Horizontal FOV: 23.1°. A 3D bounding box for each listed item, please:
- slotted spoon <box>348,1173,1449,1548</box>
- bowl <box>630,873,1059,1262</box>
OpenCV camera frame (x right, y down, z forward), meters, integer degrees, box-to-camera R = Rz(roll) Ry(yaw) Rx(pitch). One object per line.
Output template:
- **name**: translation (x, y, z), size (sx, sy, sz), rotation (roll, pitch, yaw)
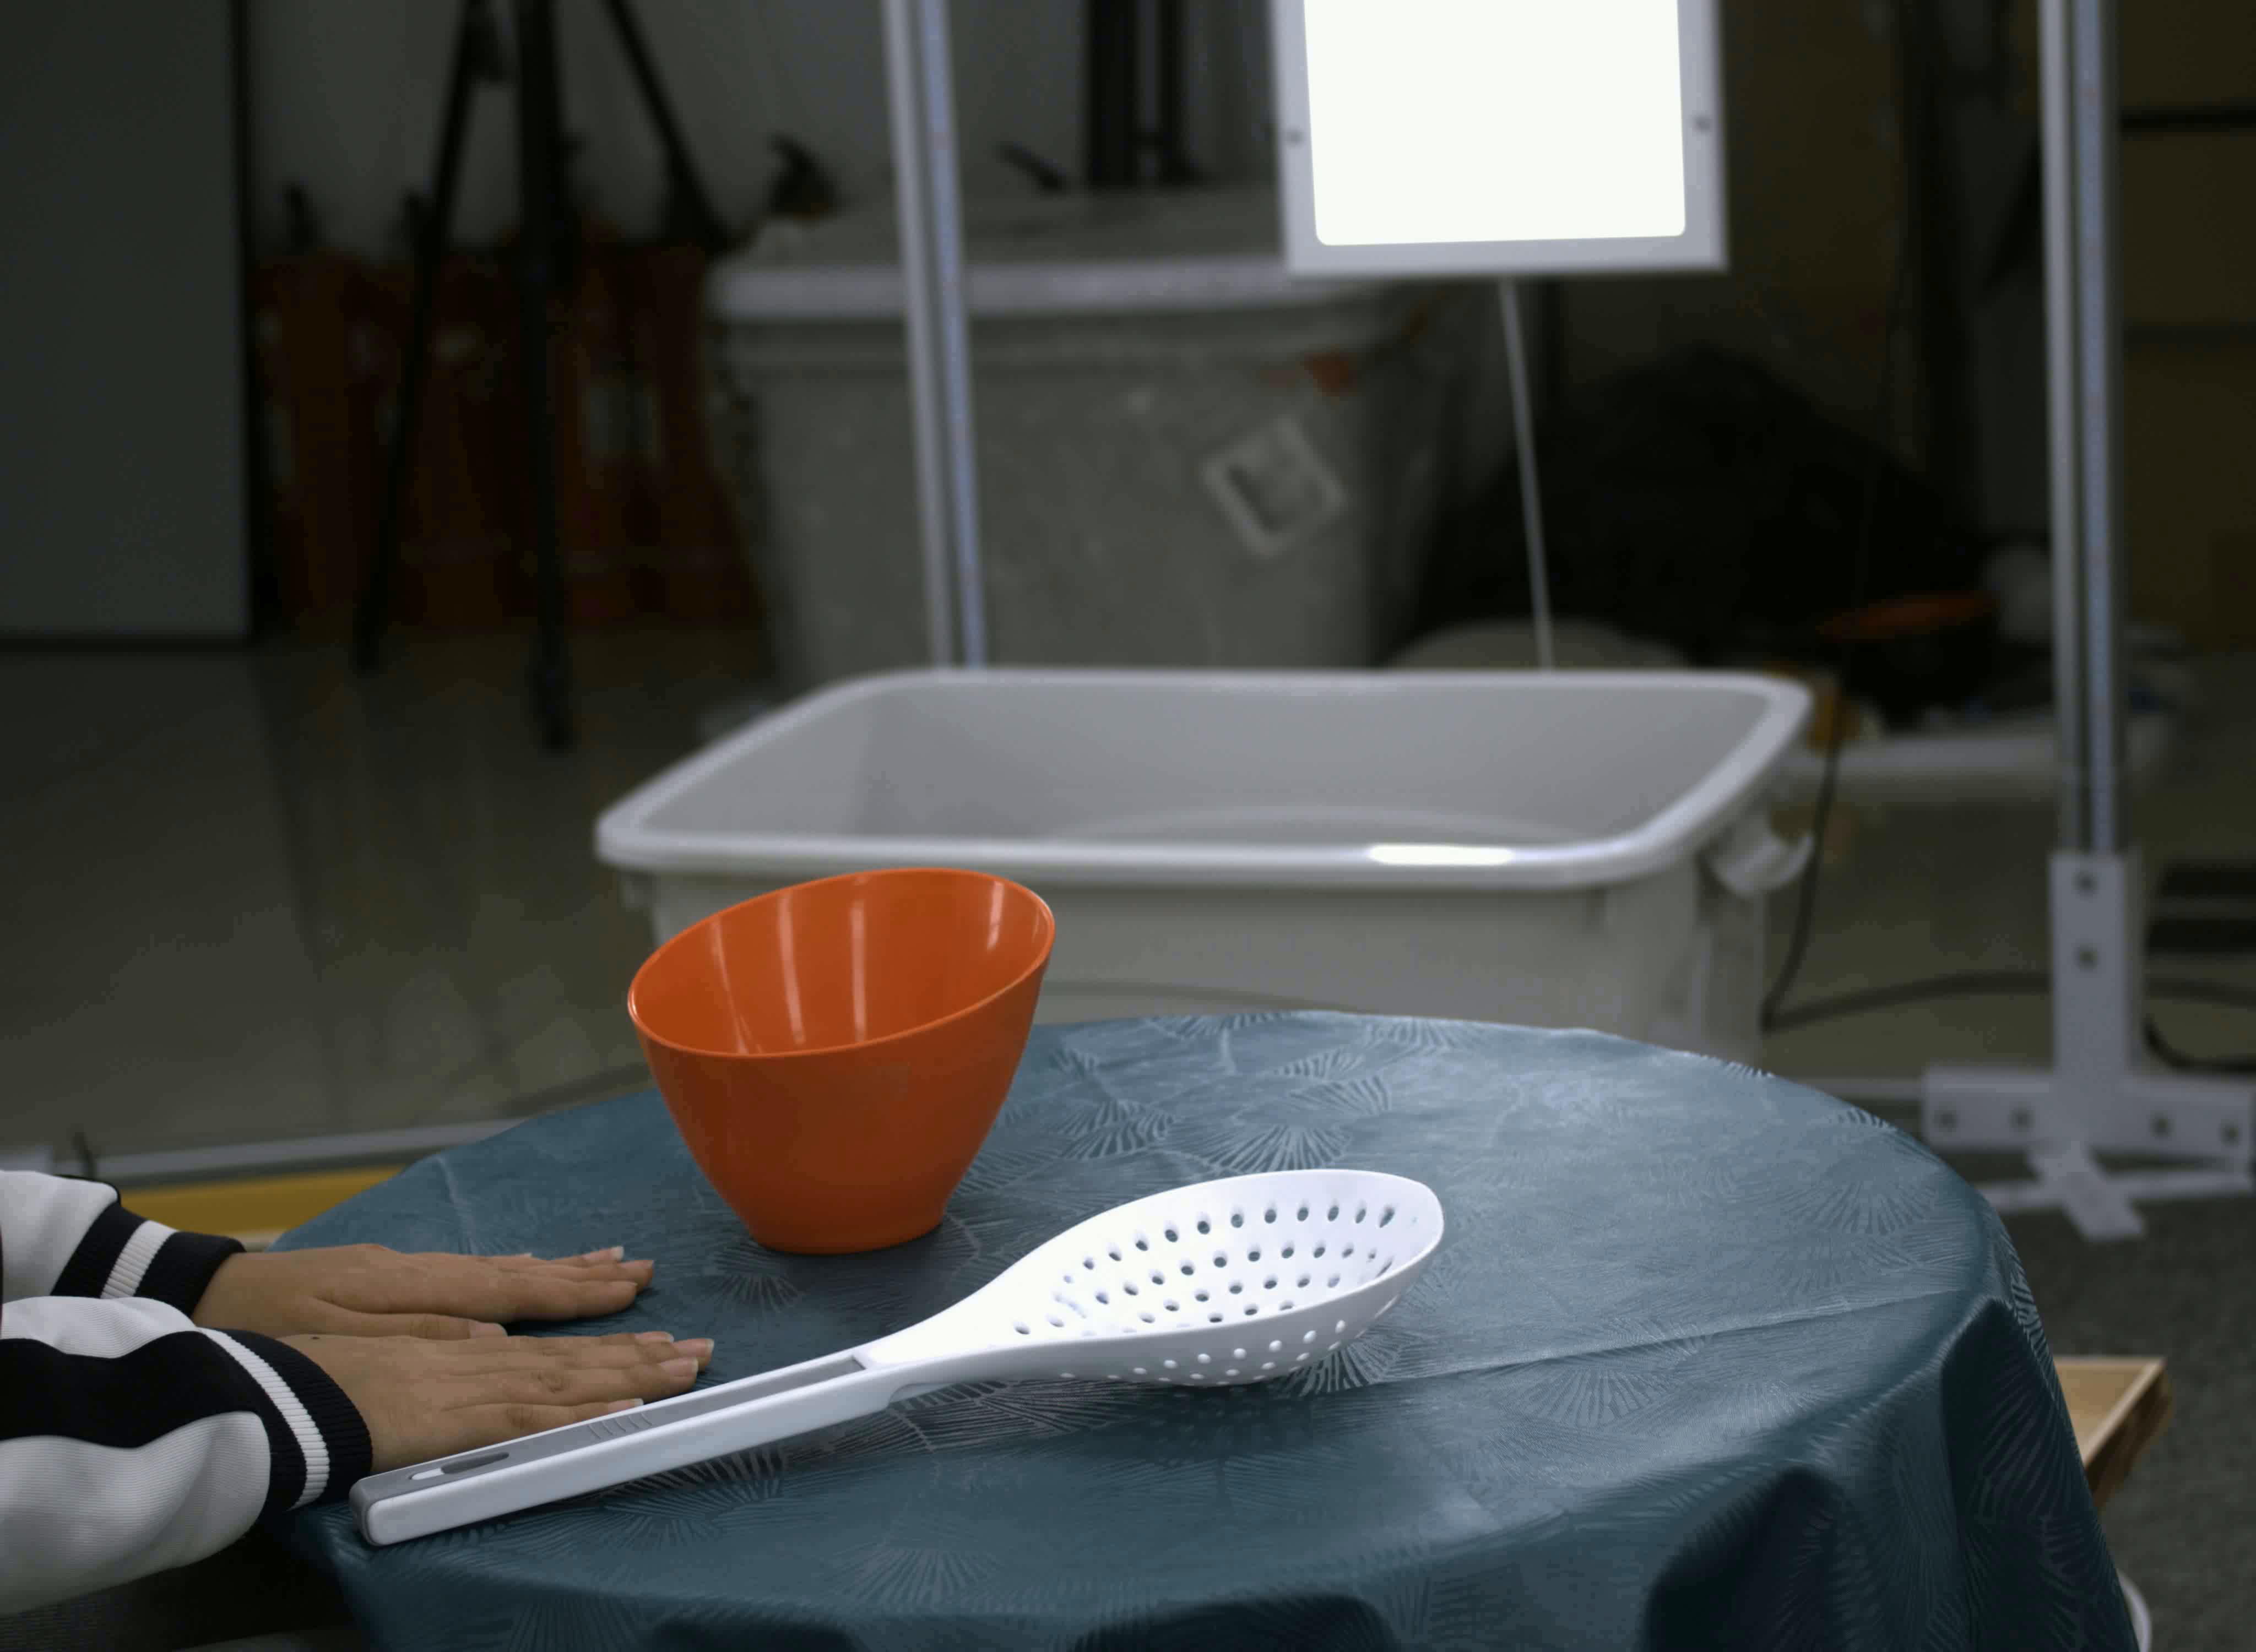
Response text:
- **slotted spoon**: translation (-0.066, 0.164, 1.677), size (0.344, 0.046, 0.137), rotation (-10, 13, -16)
- **bowl**: translation (-0.094, 0.087, 1.887), size (0.147, 0.105, 0.148), rotation (-4, 16, 0)
